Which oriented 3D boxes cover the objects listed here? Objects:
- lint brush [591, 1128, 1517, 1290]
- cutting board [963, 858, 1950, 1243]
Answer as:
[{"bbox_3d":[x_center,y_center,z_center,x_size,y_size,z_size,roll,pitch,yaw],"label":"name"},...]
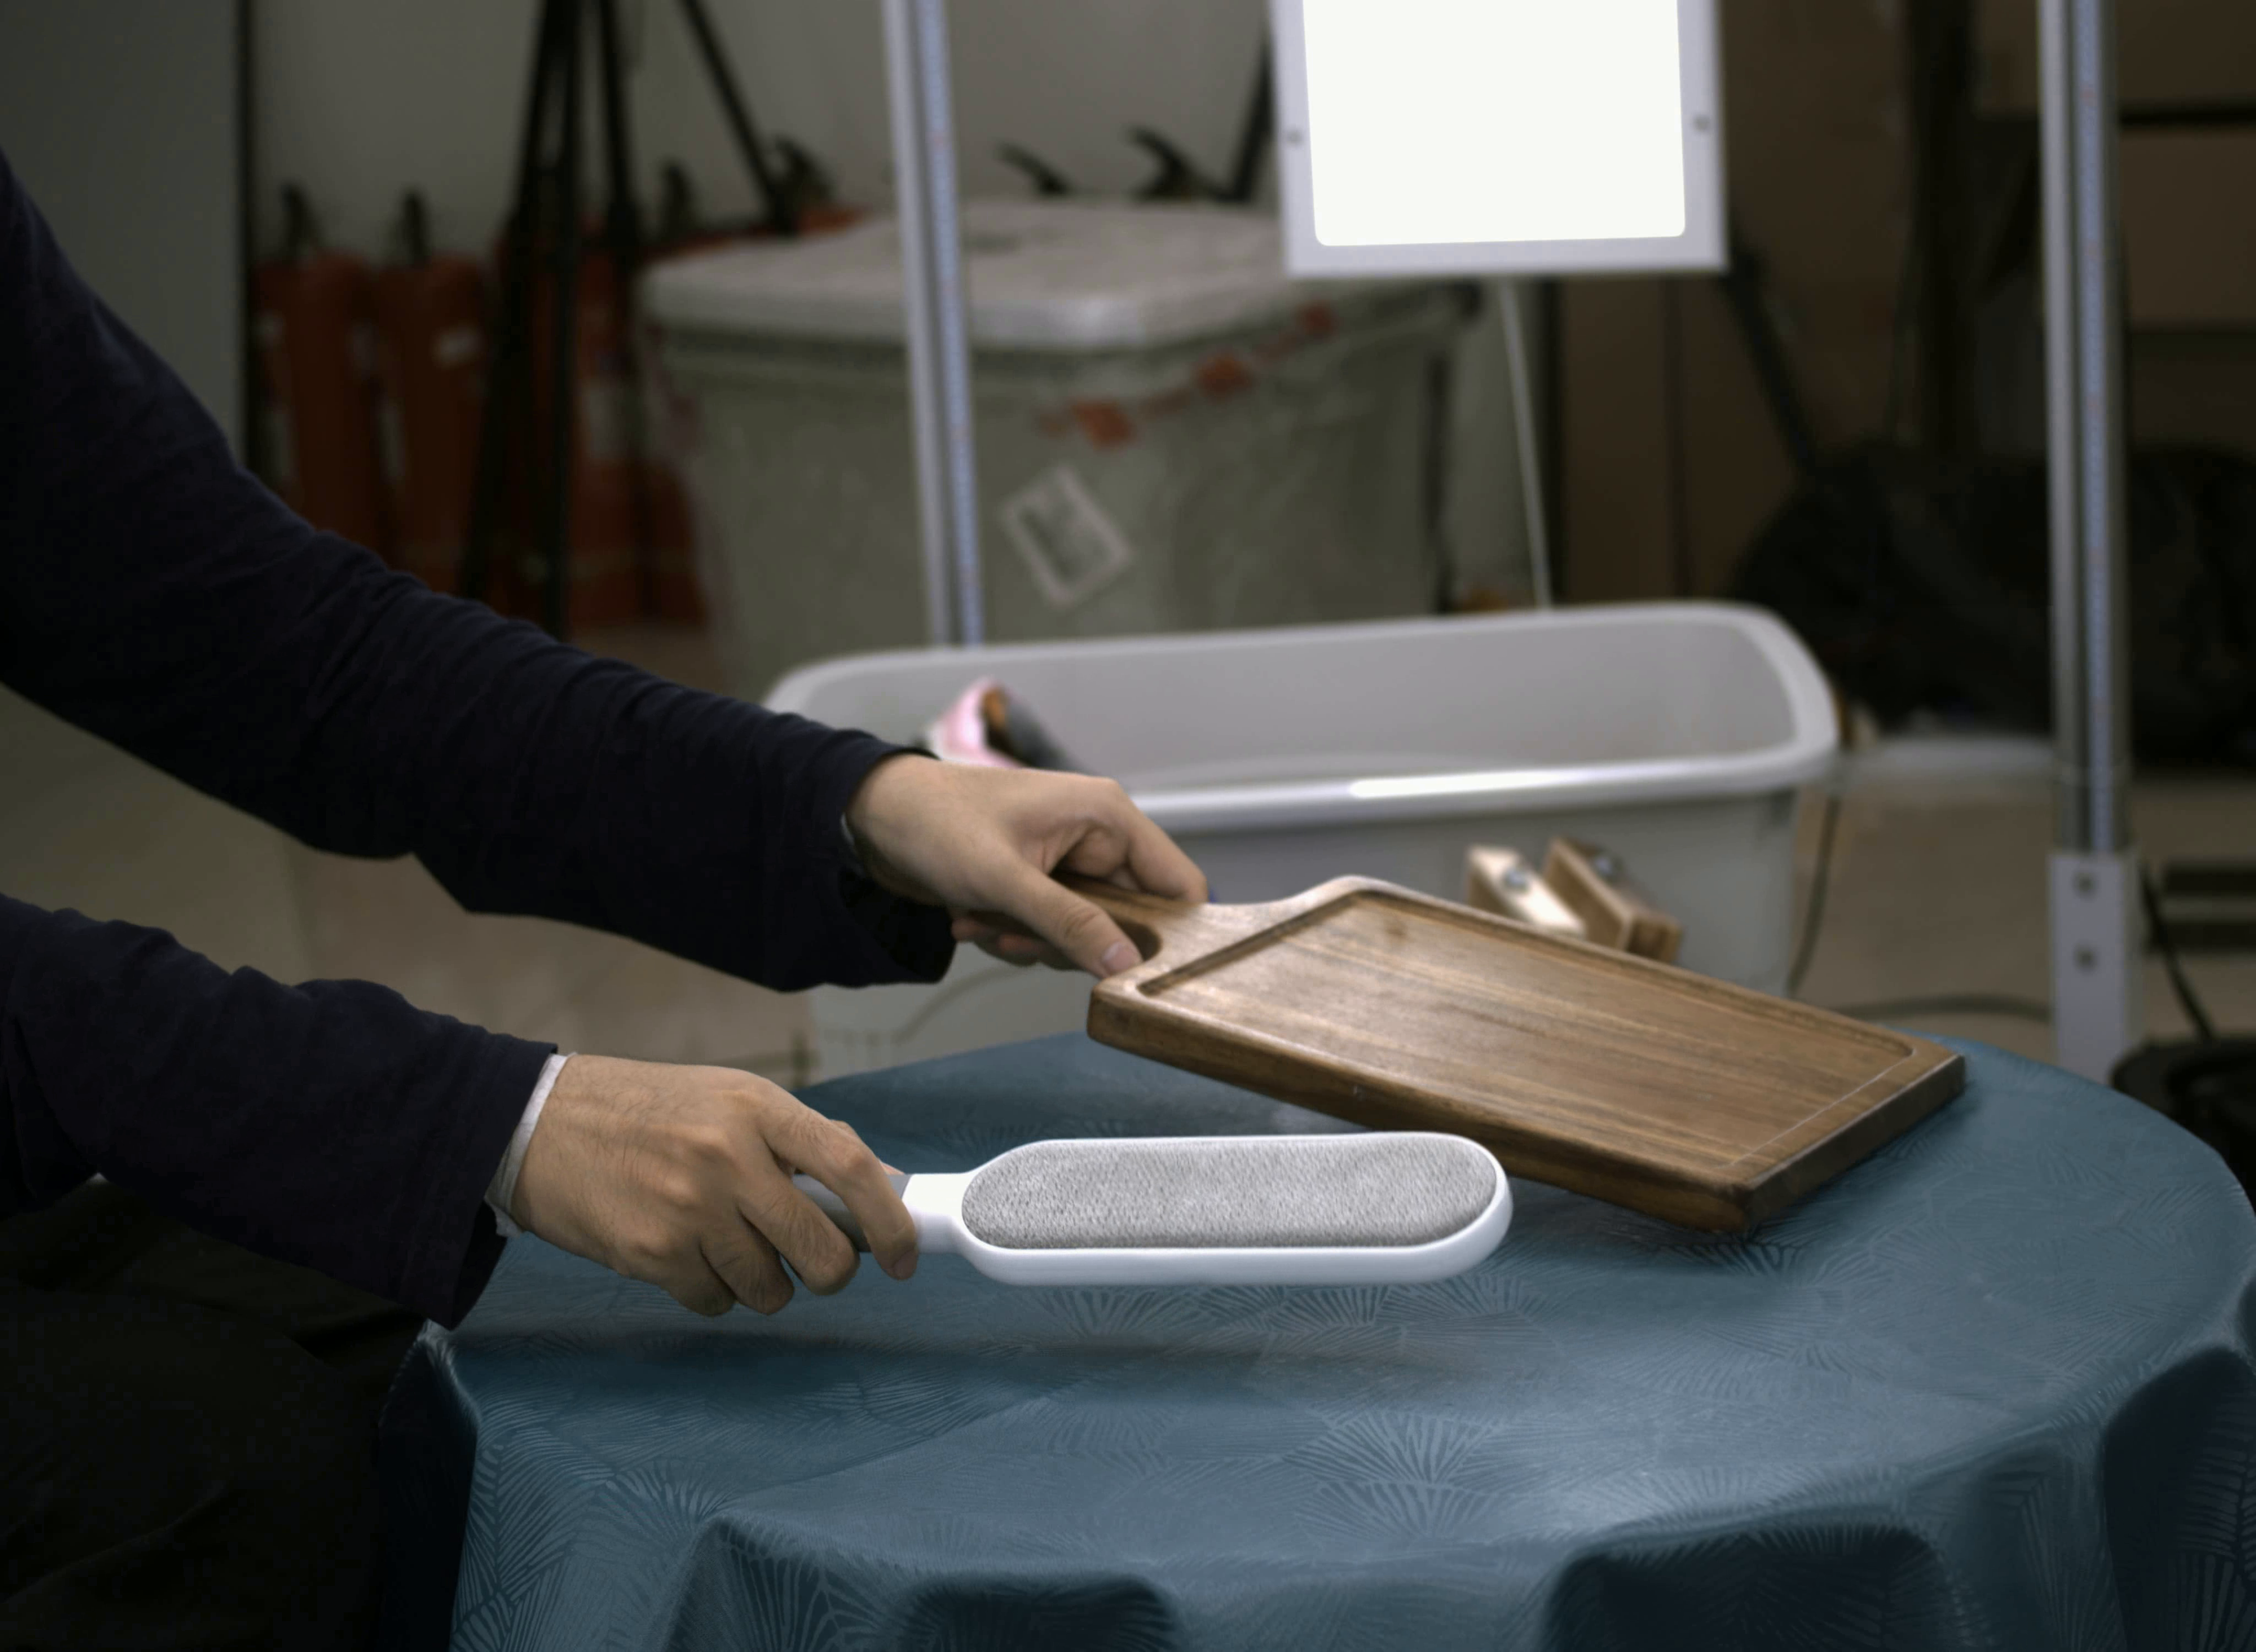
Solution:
[{"bbox_3d":[-0.028,0.121,1.743,0.313,0.021,0.059,-1,43,21],"label":"lint brush"},{"bbox_3d":[0.095,0.064,1.929,0.358,0.023,0.196,16,20,28],"label":"cutting board"}]
